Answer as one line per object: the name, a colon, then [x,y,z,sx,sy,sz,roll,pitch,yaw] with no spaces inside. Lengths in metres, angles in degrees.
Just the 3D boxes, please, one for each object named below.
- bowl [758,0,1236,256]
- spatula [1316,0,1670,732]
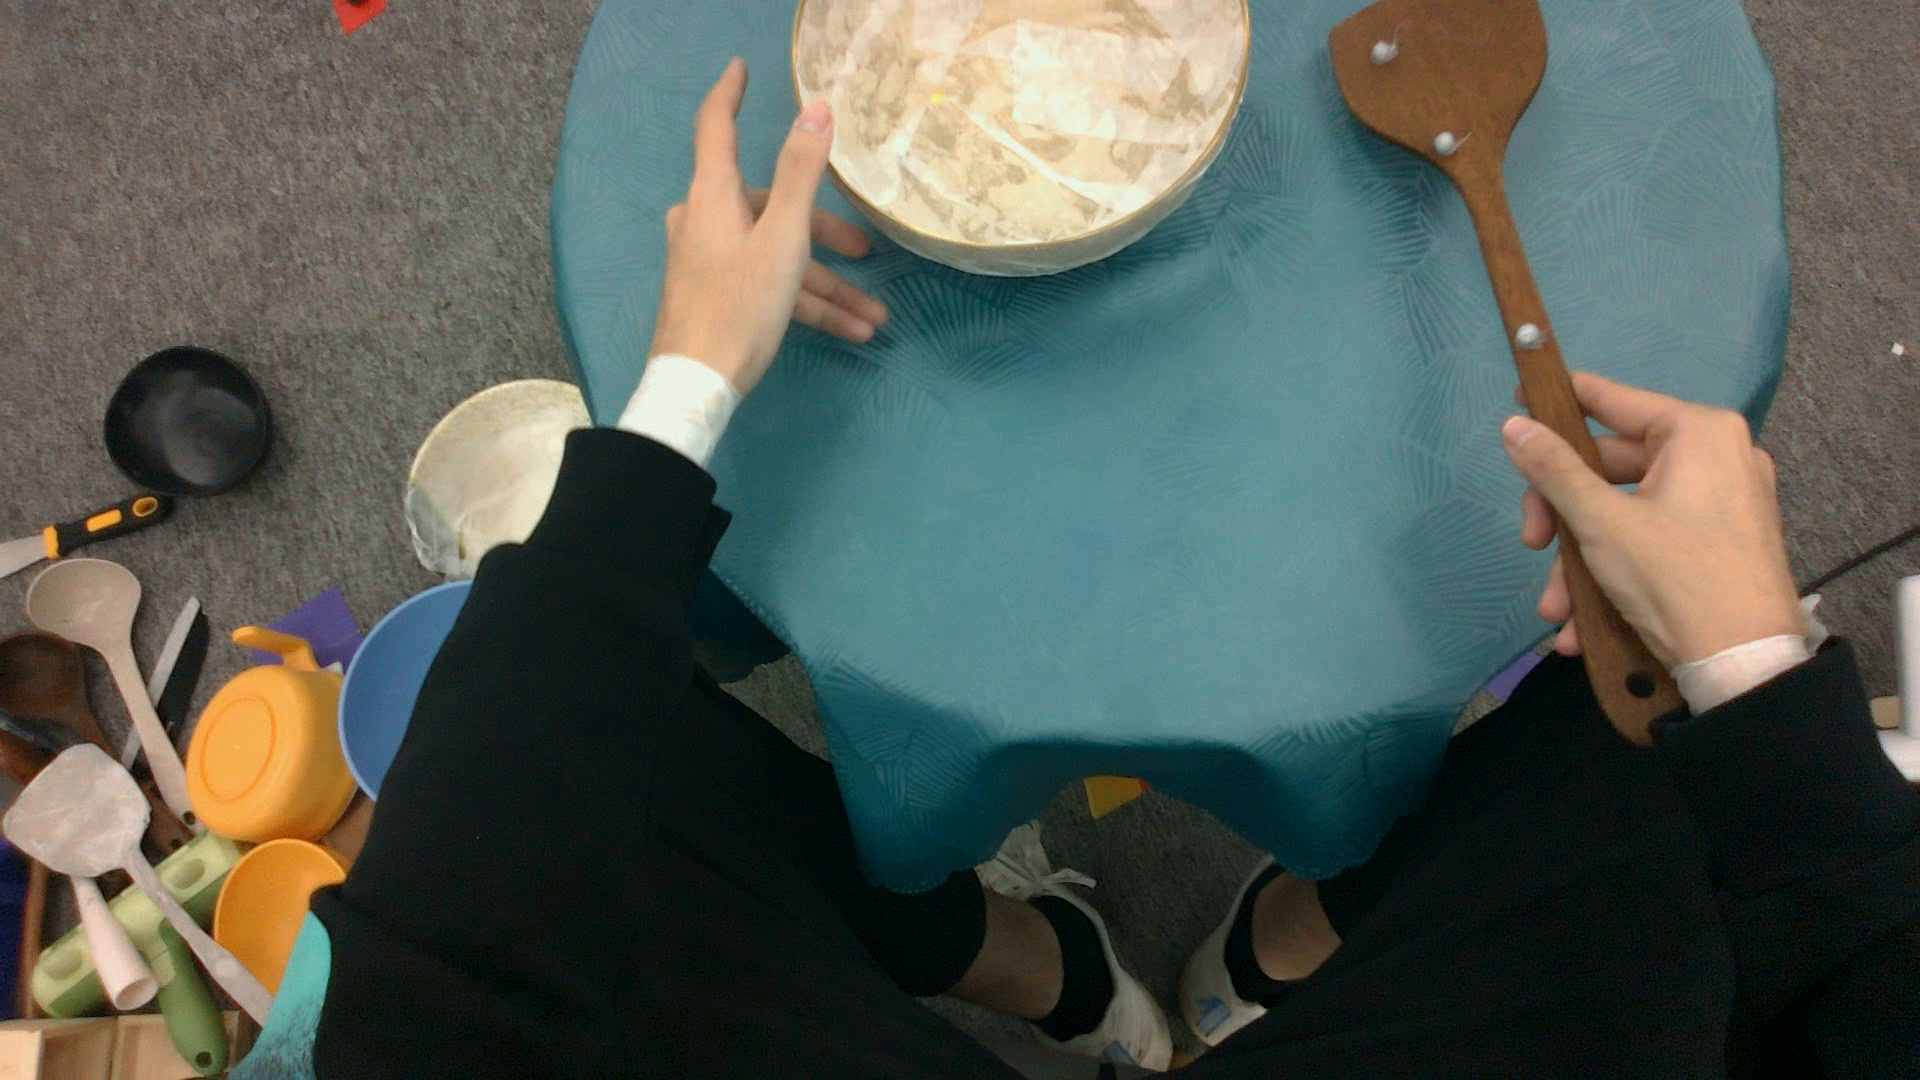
bowl: [0.015,-0.213,0.640,0.214,0.094,0.215,0,76,2]
spatula: [0.226,-0.105,0.571,0.096,0.016,0.387,-14,60,19]
